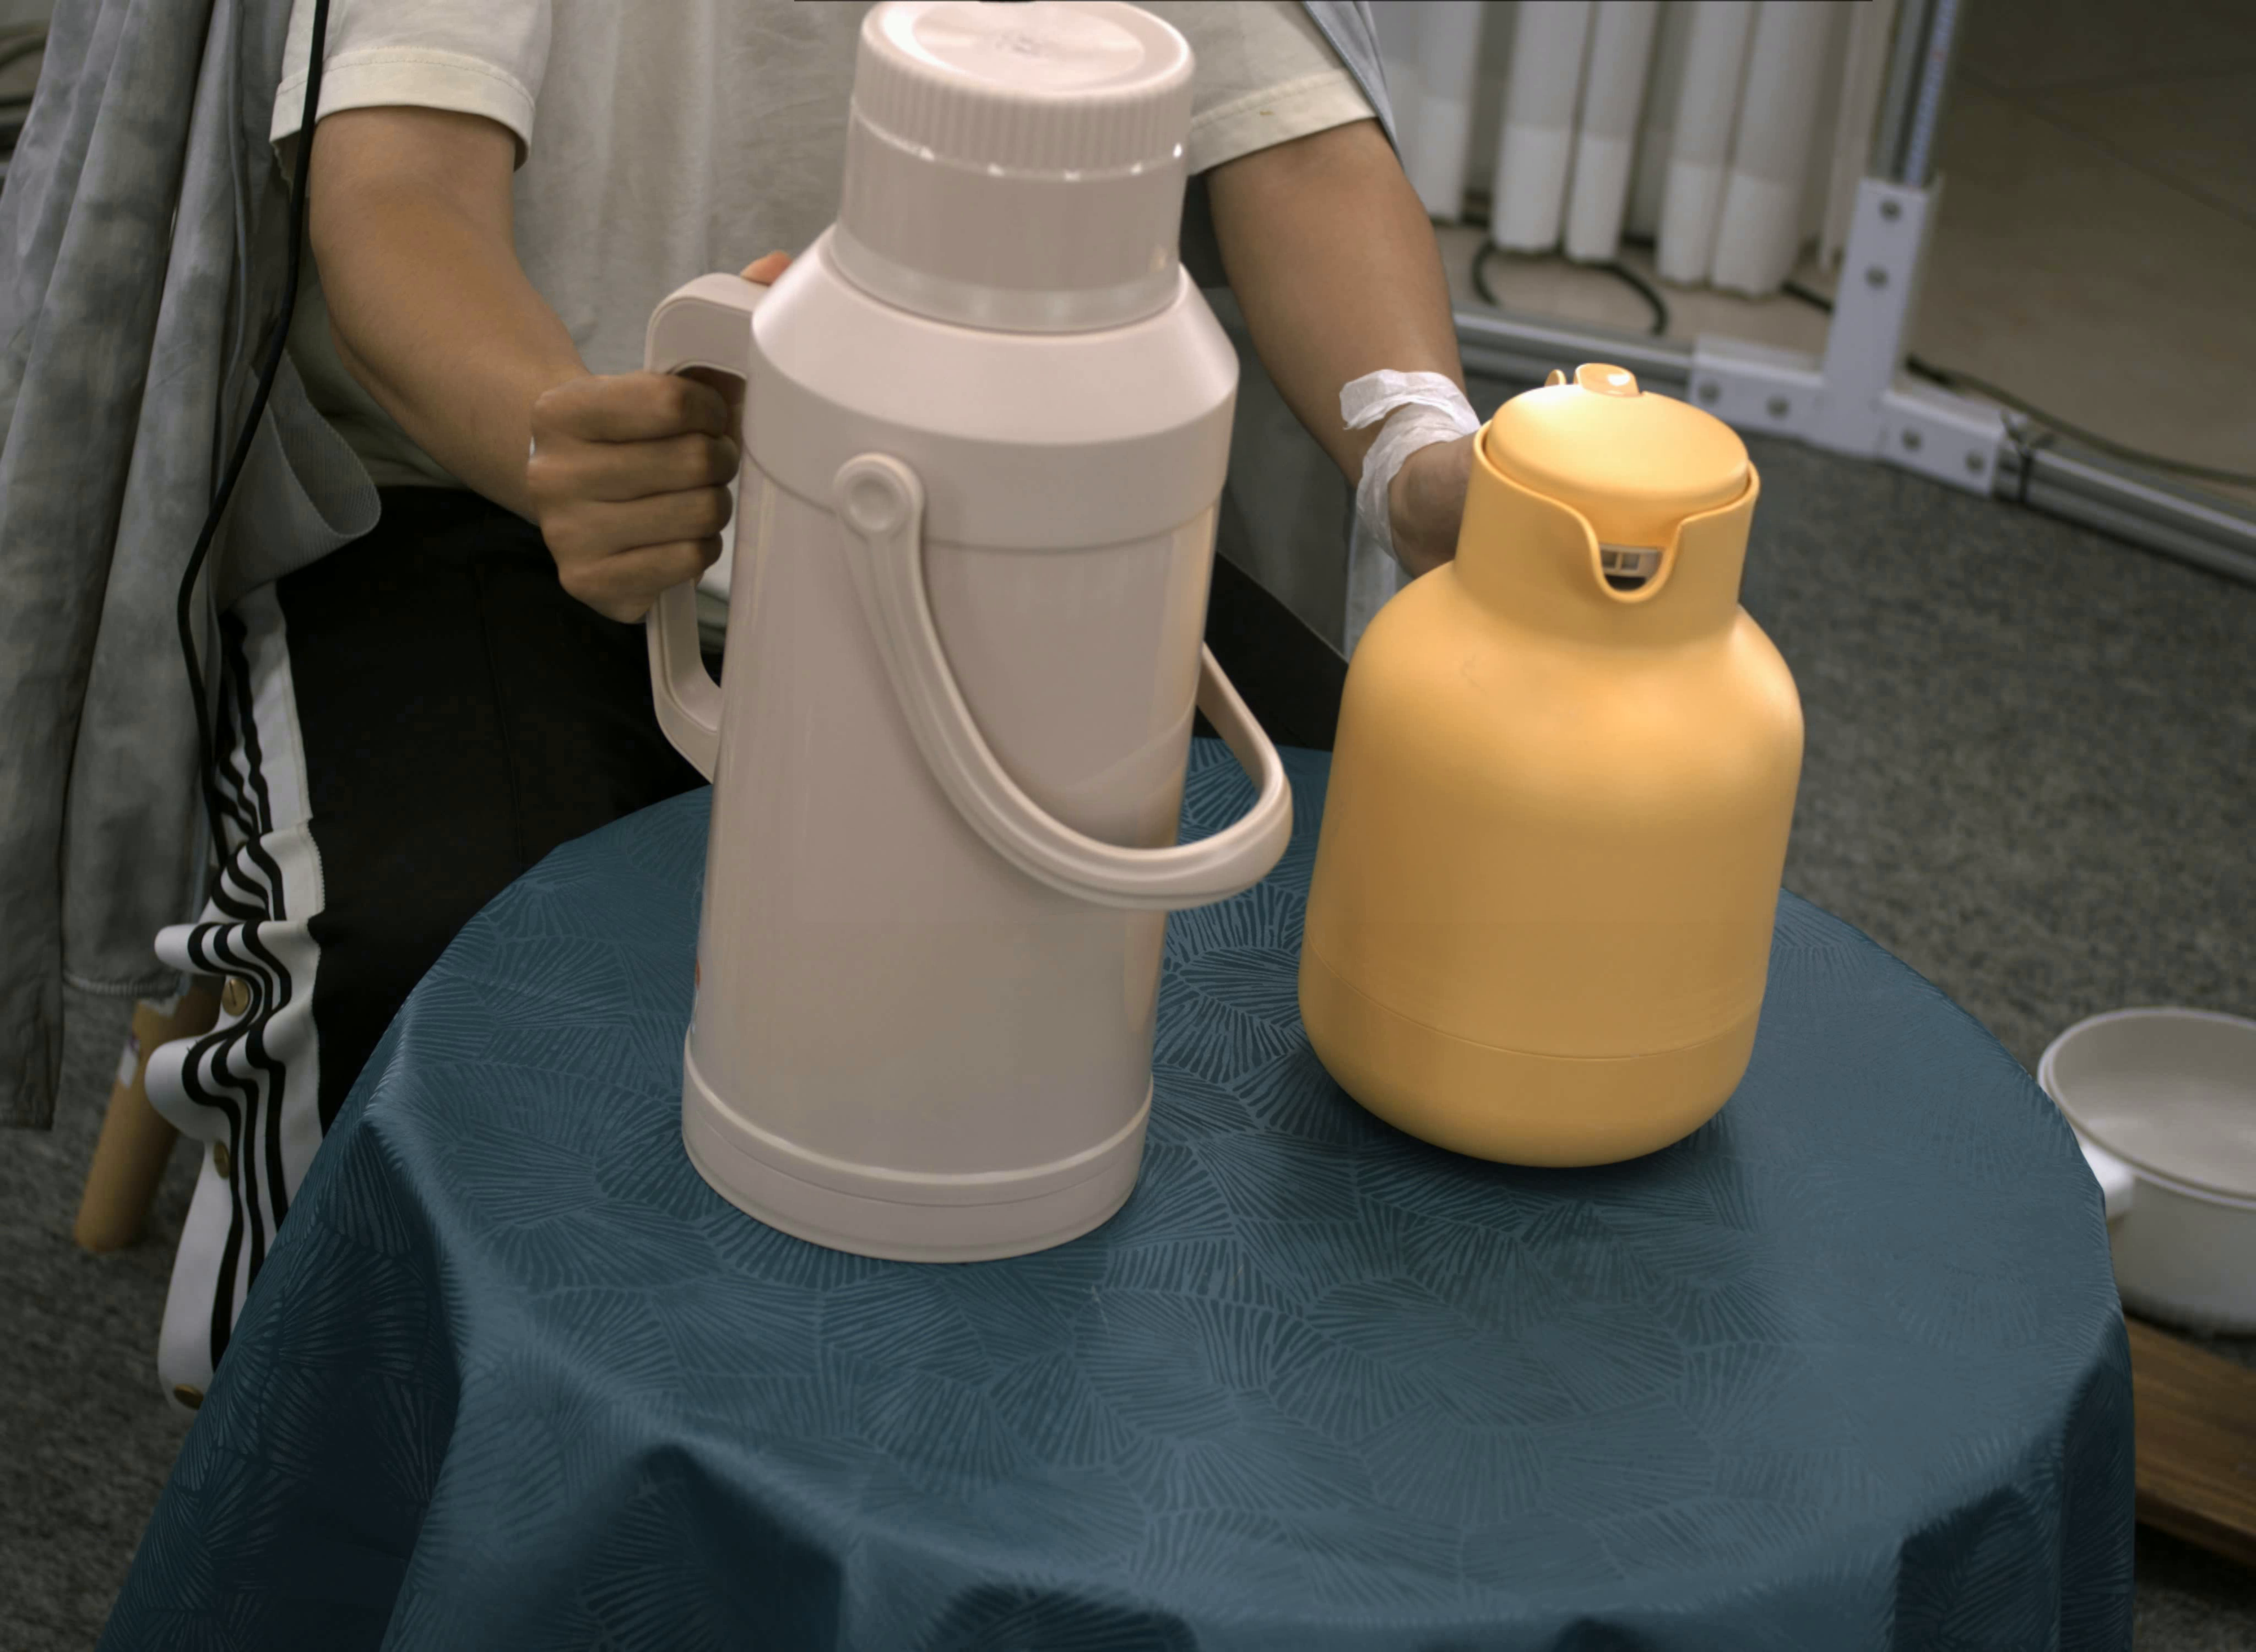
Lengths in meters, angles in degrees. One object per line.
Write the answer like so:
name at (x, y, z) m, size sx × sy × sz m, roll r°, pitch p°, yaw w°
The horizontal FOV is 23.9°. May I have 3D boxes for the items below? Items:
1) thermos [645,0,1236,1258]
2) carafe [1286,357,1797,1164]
thermos at (-0.066, -0.073, 1.738) m, size 0.207 × 0.405 × 0.175 m, roll 17°, pitch 29°, yaw 18°
carafe at (0.151, -0.032, 1.857) m, size 0.163 × 0.259 × 0.203 m, roll 9°, pitch 28°, yaw -2°
